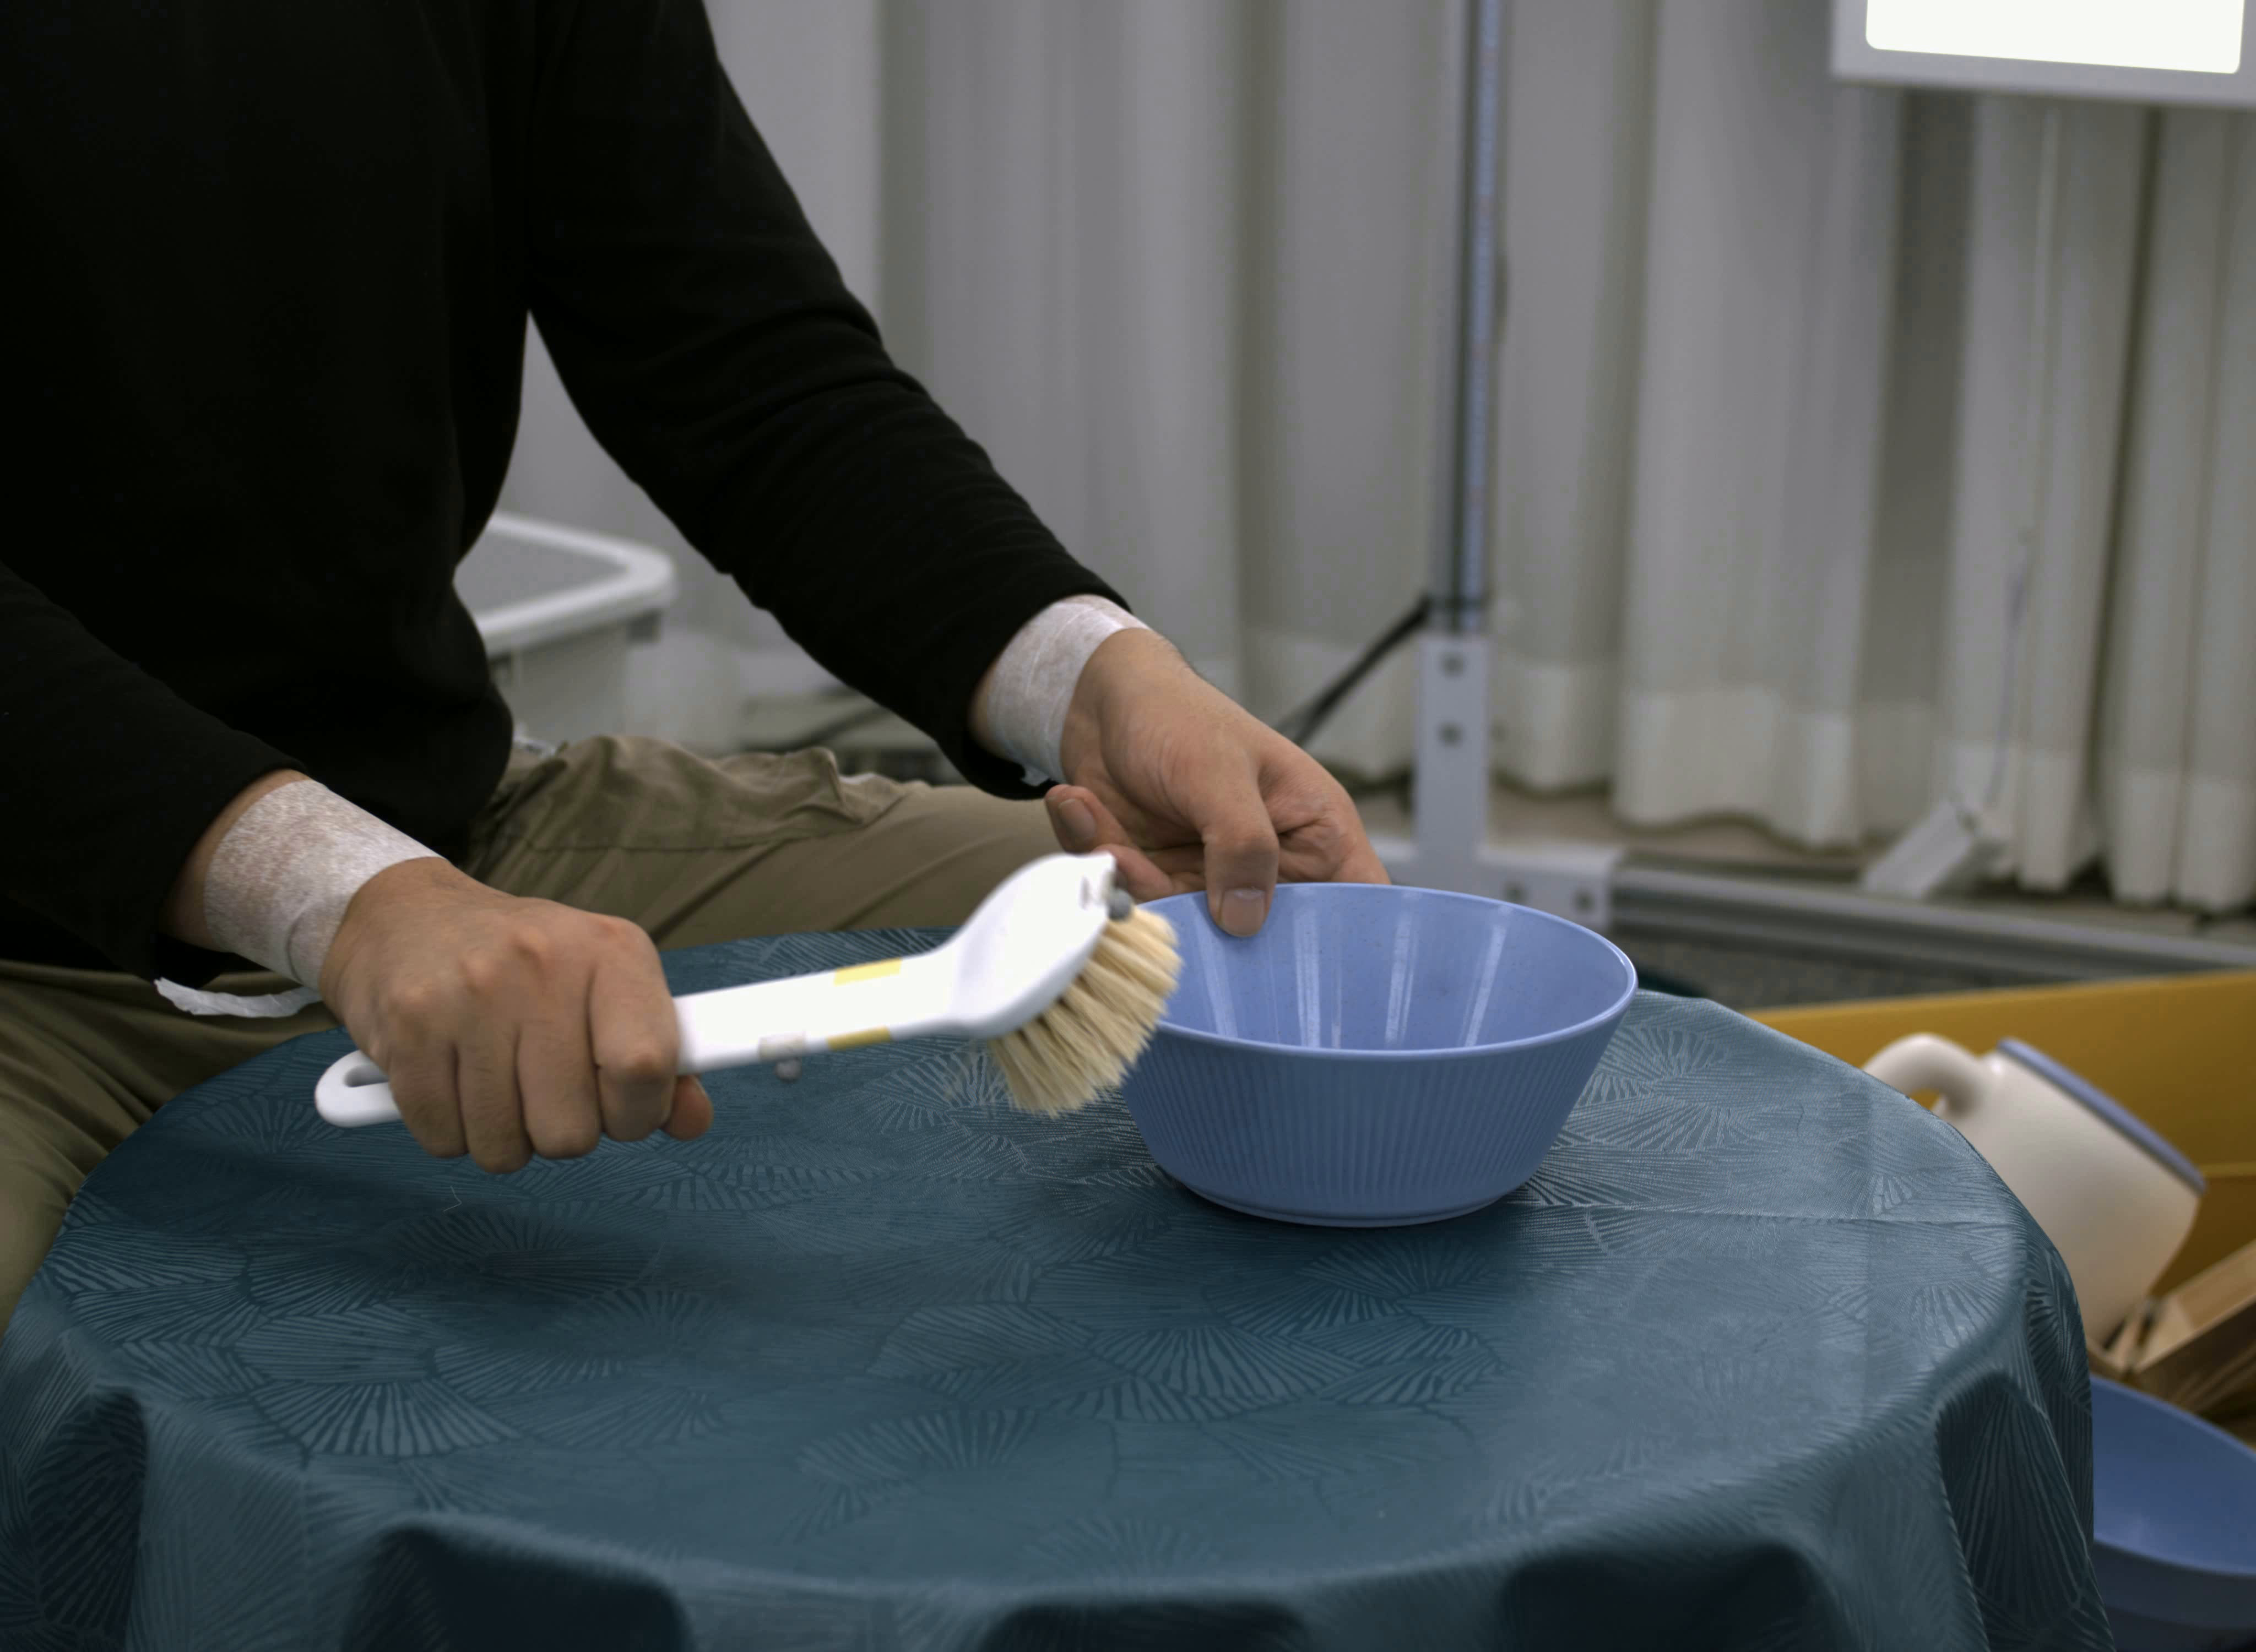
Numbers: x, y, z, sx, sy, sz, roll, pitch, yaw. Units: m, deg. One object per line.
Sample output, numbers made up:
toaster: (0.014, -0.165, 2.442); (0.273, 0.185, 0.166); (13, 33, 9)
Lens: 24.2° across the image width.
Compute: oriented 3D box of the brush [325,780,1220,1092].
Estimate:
brush: (-0.102, 0.052, 1.557); (0.266, 0.057, 0.068); (-18, 26, -3)

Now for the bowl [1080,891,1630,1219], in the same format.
bowl: (0.066, 0.073, 1.627); (0.175, 0.071, 0.175); (2, 15, 0)
